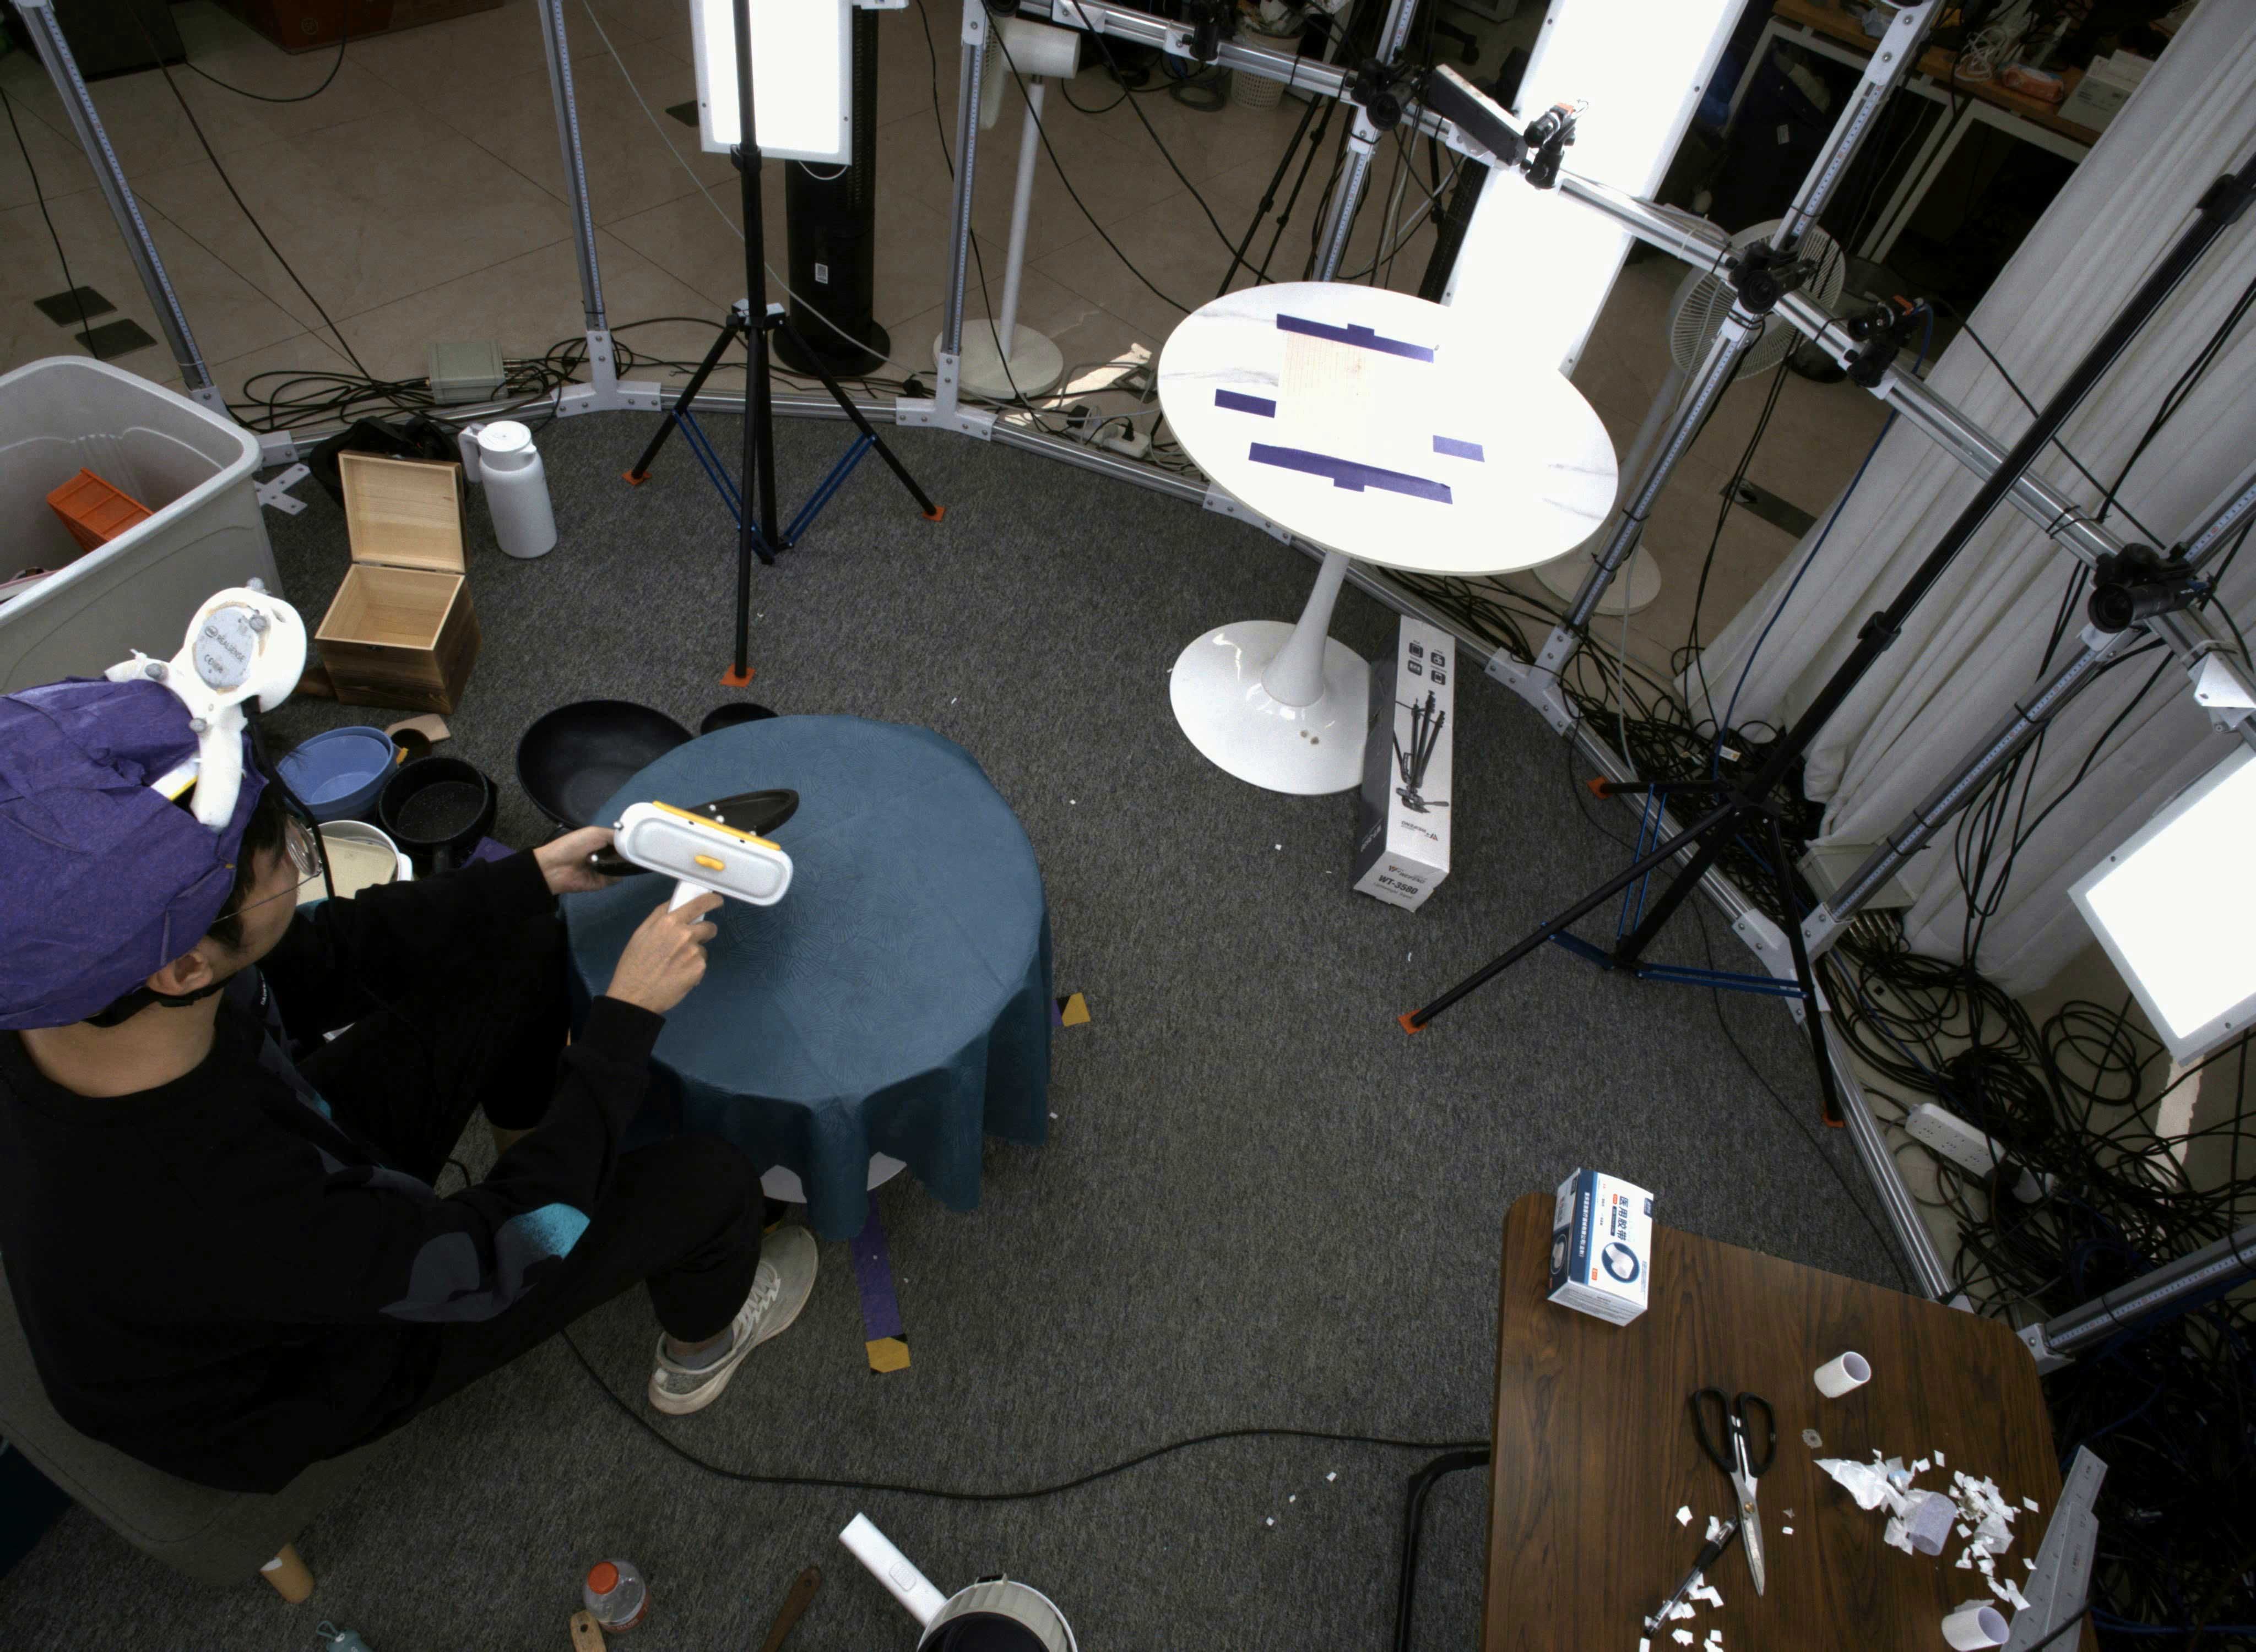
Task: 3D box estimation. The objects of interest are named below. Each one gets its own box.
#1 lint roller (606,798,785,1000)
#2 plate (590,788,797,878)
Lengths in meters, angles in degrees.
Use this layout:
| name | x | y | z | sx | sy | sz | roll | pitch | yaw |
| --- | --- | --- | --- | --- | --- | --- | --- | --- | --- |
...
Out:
| name | x | y | z | sx | sy | sz | roll | pitch | yaw |
| --- | --- | --- | --- | --- | --- | --- | --- | --- | --- |
| lint roller | -0.471 | 0.083 | 1.365 | 0.198 | 0.071 | 0.194 | 19 | 87 | -36 |
| plate | -0.510 | 0.004 | 1.514 | 0.251 | 0.030 | 0.251 | -13 | 16 | 6 |
